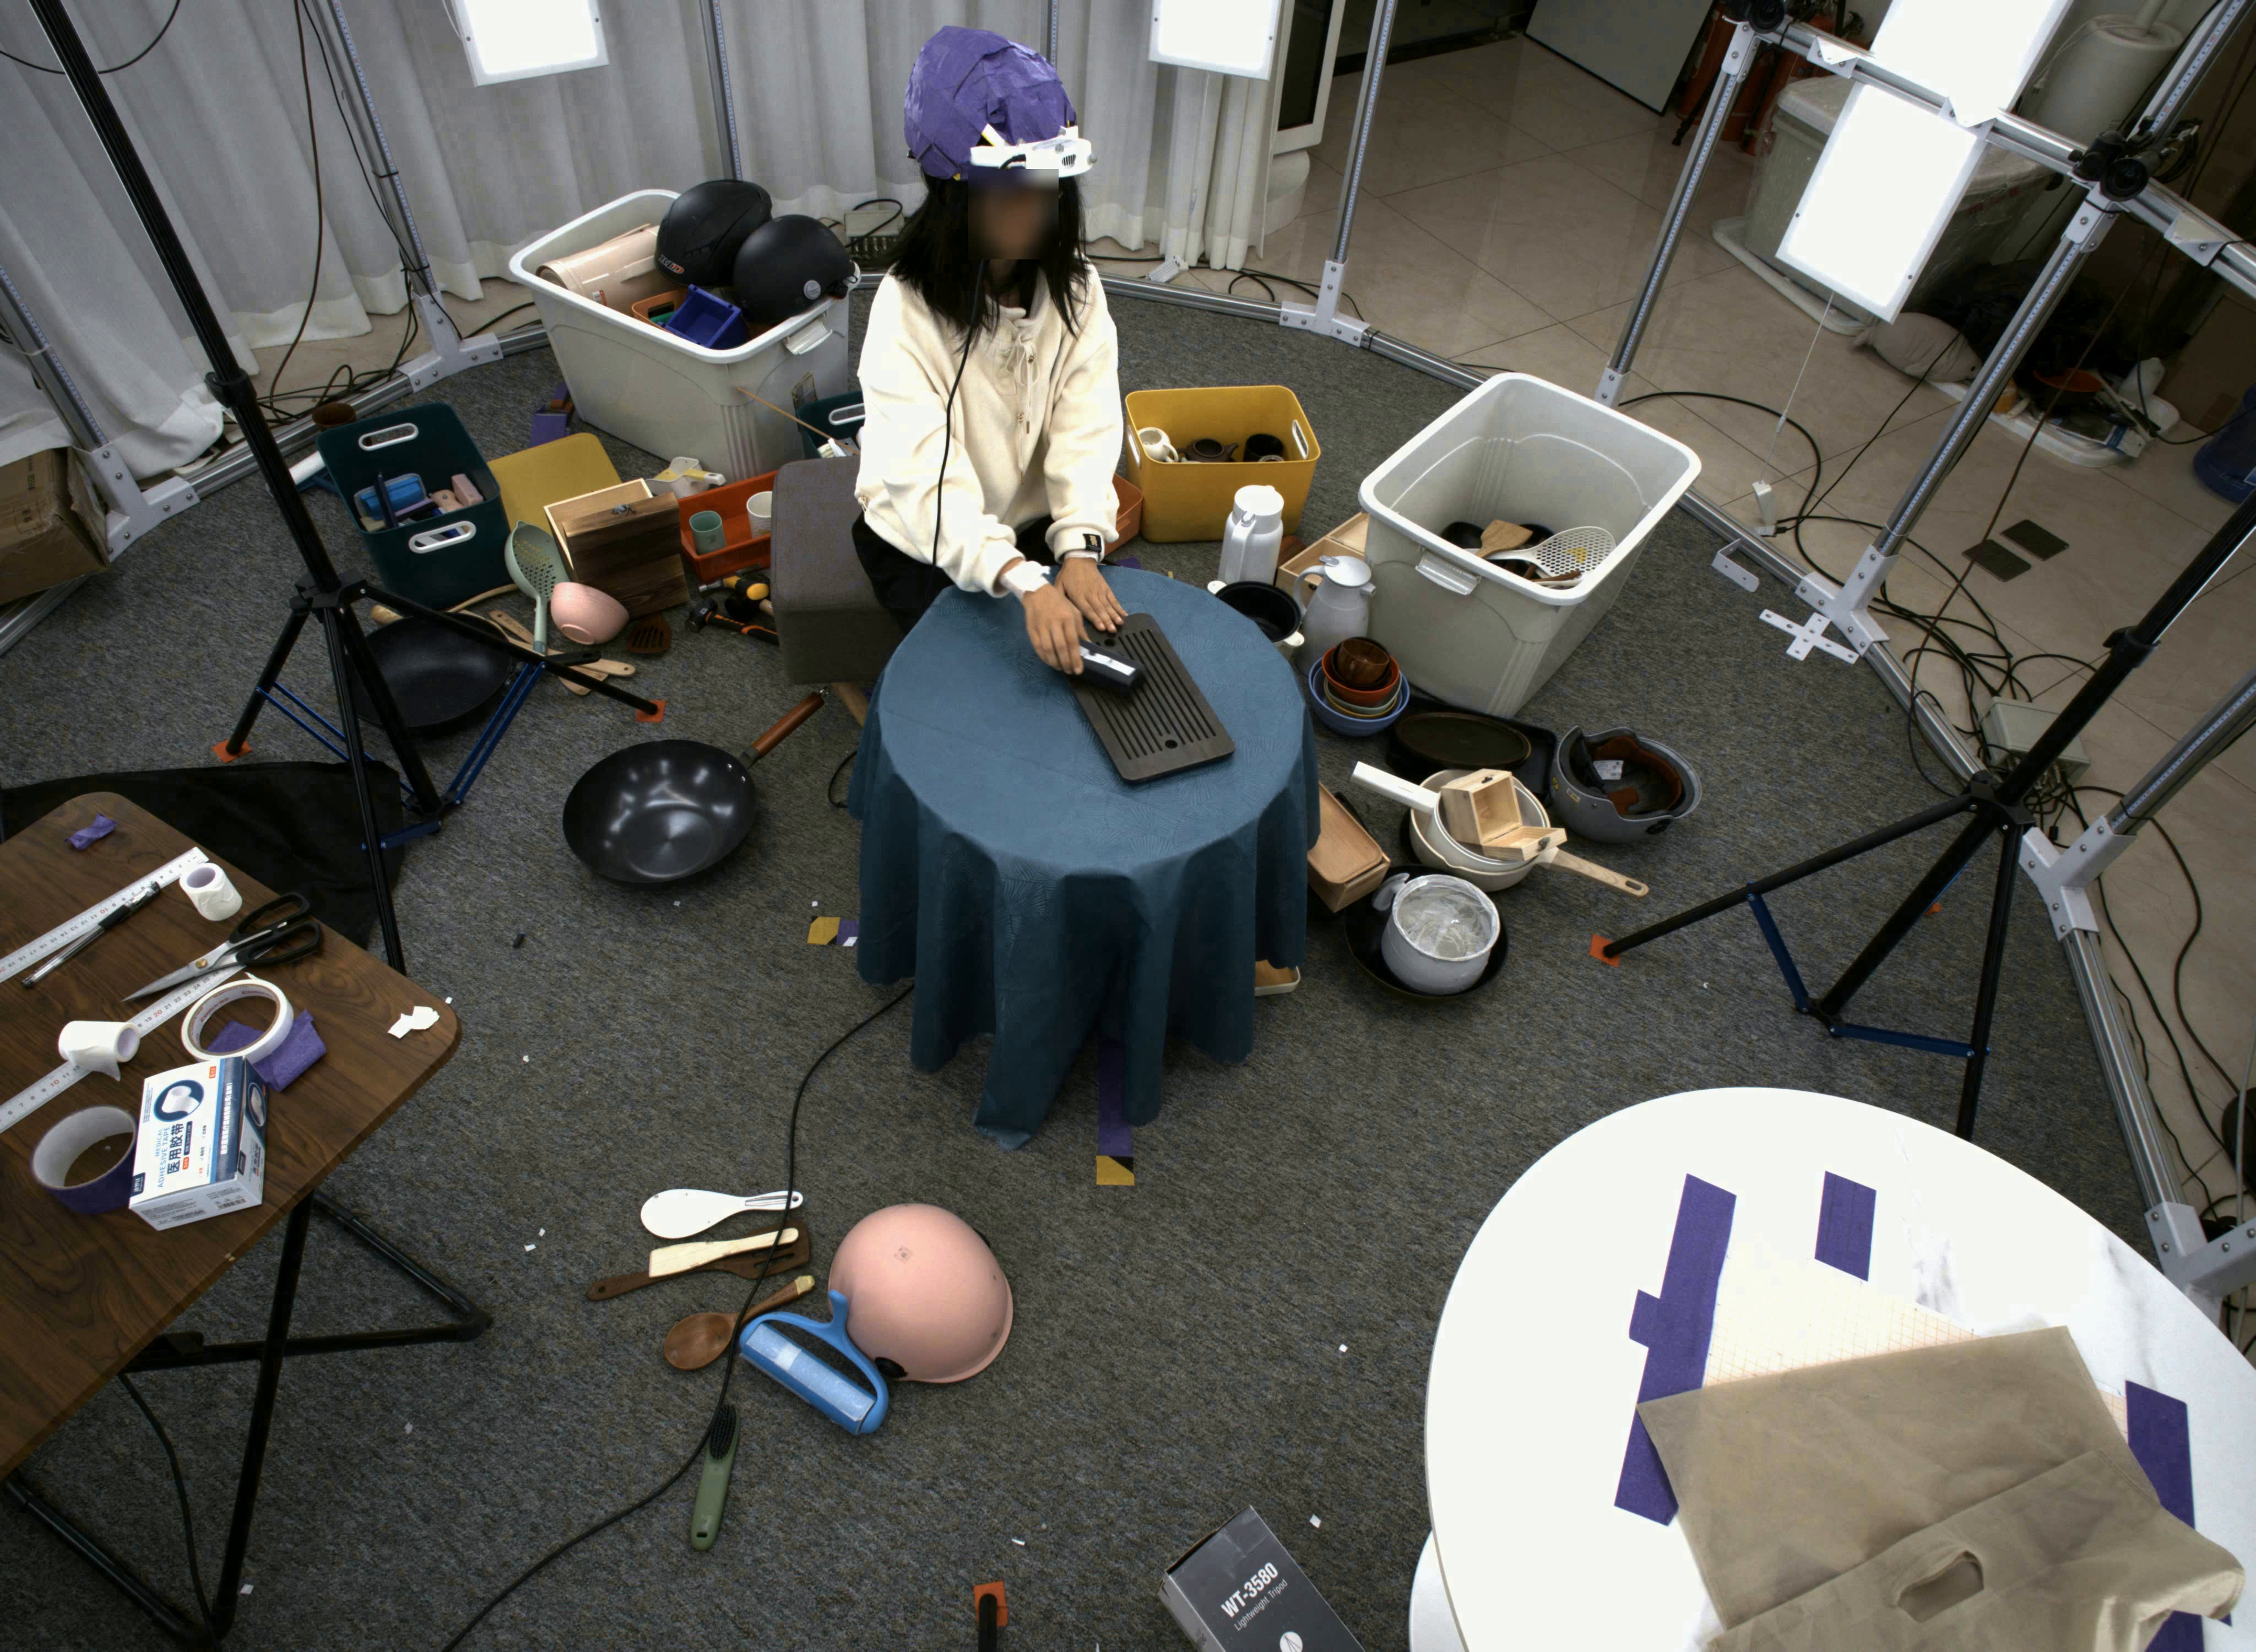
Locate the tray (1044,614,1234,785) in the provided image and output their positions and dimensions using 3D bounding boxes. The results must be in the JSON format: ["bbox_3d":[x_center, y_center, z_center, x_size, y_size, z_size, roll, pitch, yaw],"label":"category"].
[{"bbox_3d":[0.011,-0.184,1.819,0.170,0.018,0.313,-16,52,-17],"label":"tray"}]

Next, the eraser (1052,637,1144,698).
[{"bbox_3d":[-0.043,-0.227,1.826,0.126,0.030,0.054,24,48,18],"label":"eraser"}]
